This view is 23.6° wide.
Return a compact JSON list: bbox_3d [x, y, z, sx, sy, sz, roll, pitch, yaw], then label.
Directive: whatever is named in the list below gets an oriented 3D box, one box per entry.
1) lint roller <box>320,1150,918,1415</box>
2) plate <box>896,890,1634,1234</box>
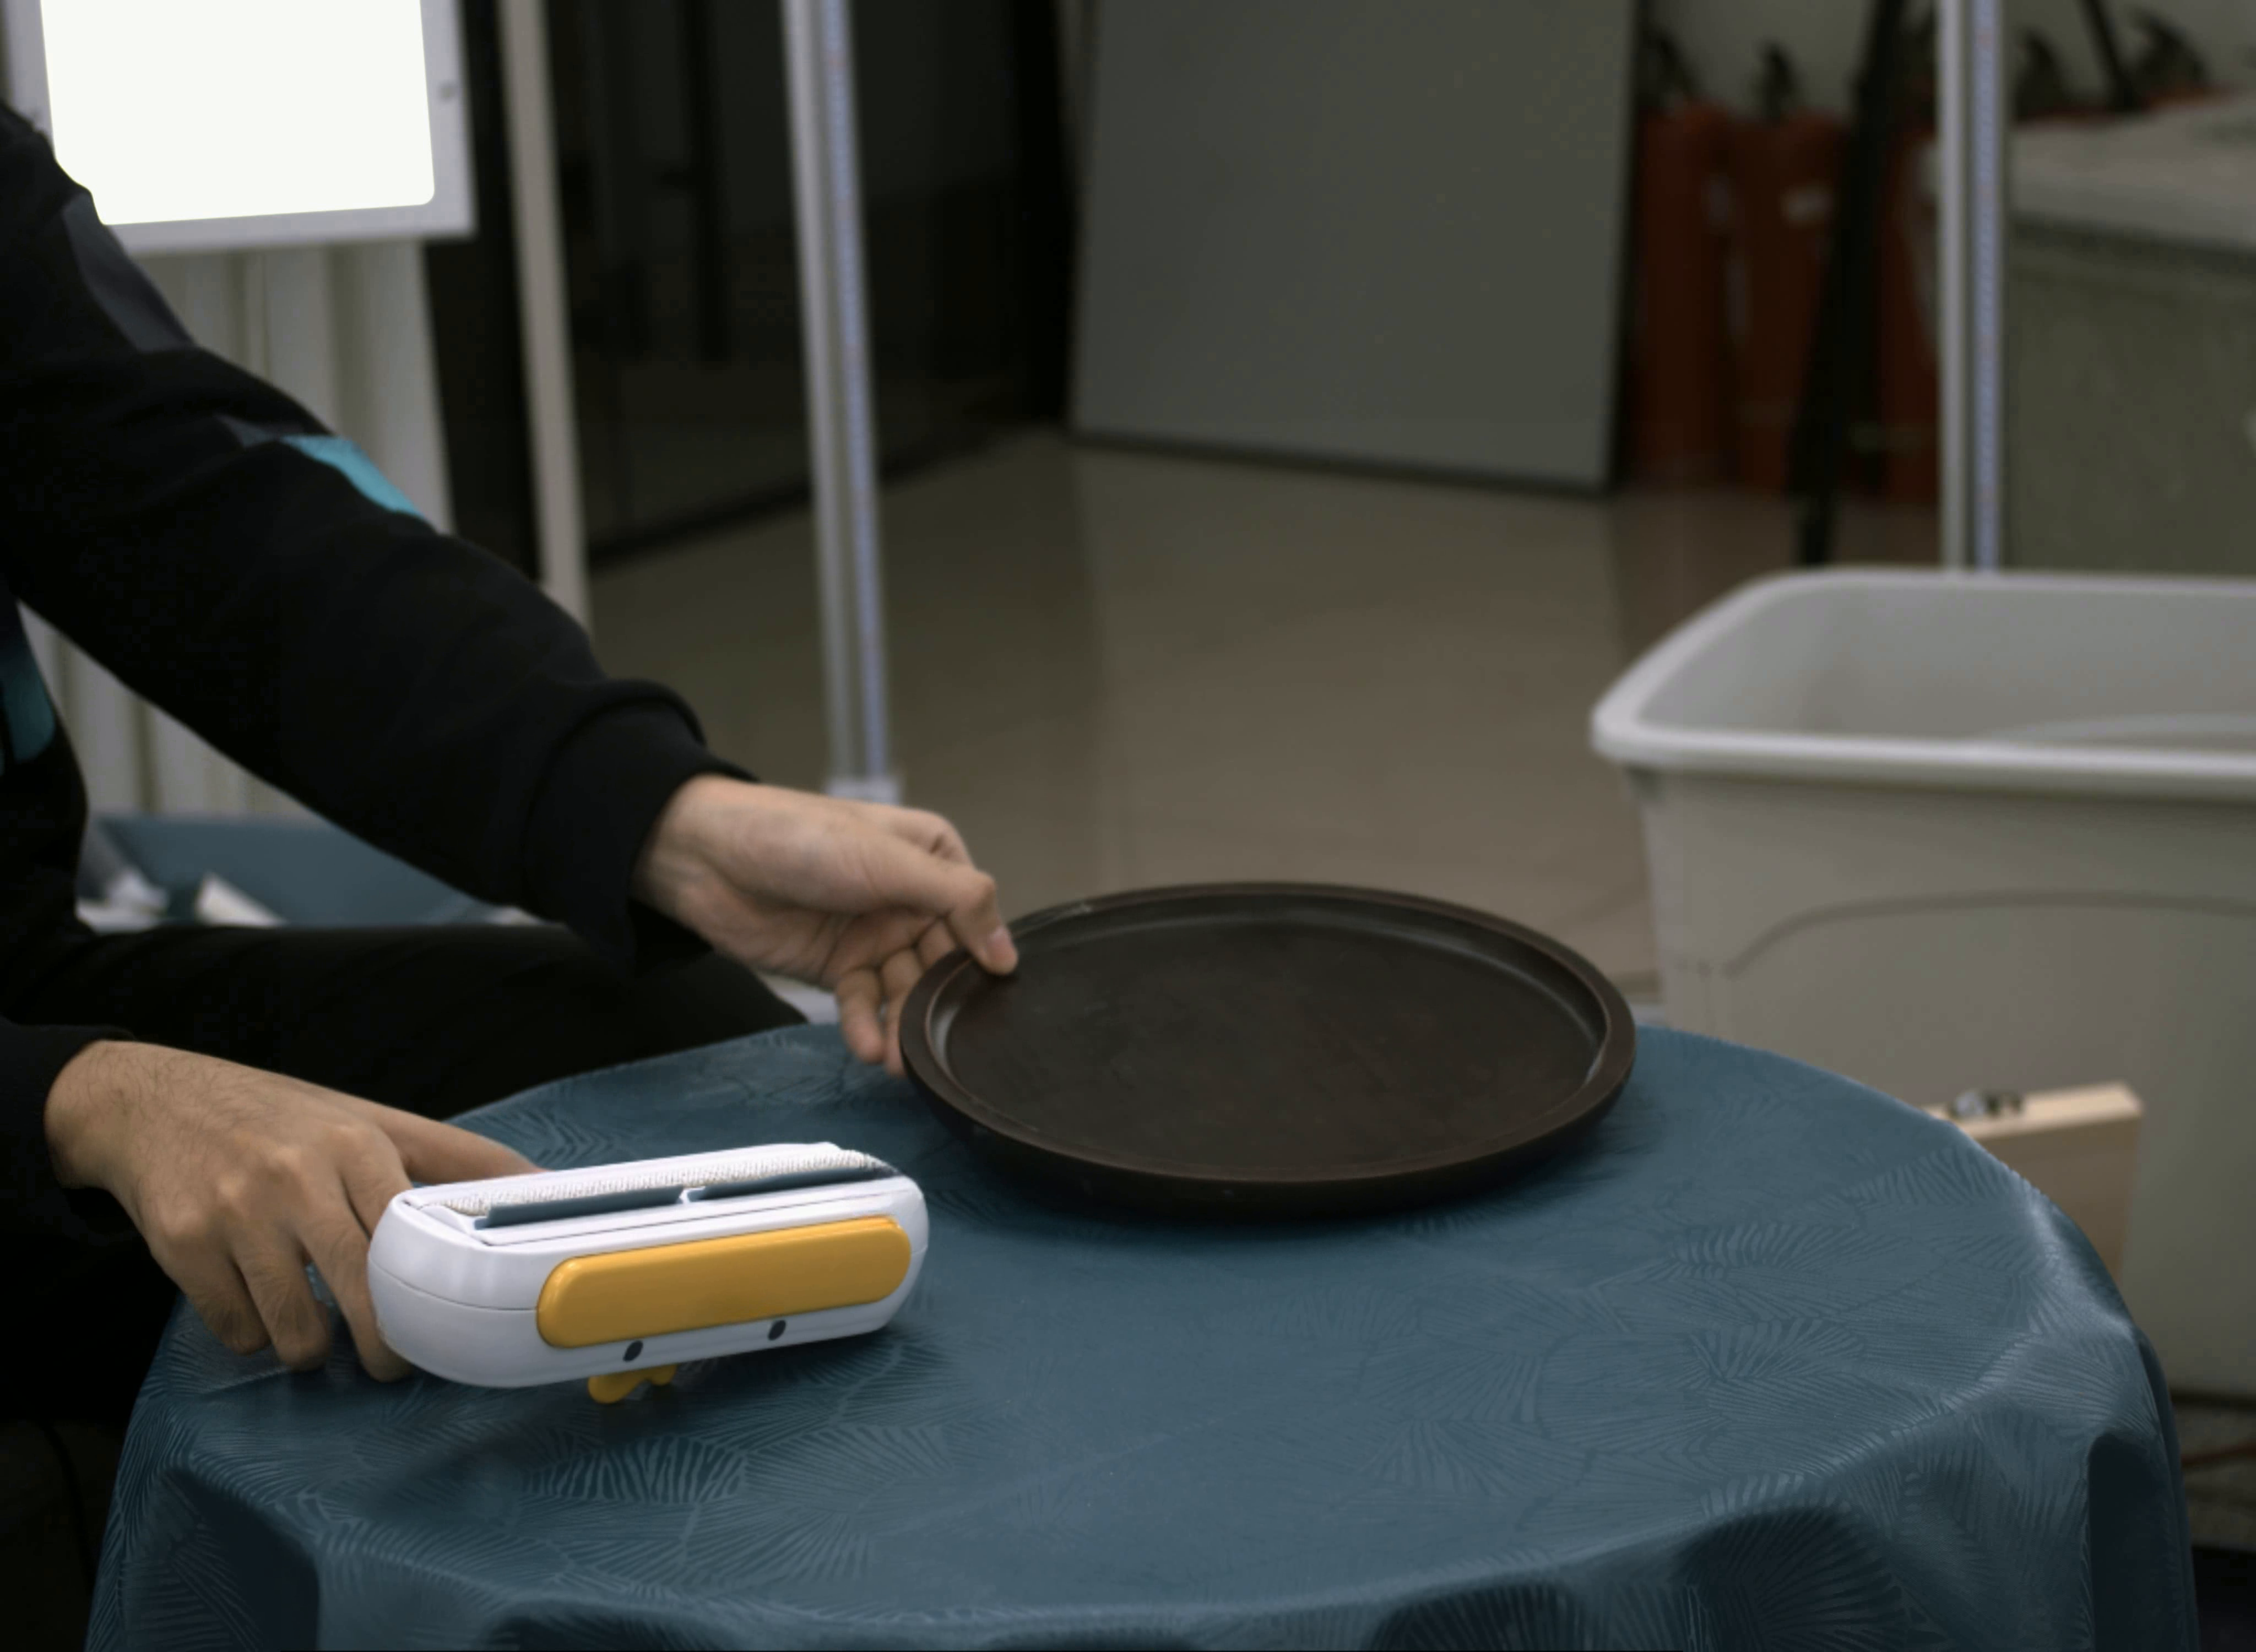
[{"bbox_3d":[-0.184,0.131,1.646,0.188,0.075,0.194,-9,12,-40],"label":"lint roller"},{"bbox_3d":[0.047,0.078,1.827,0.251,0.029,0.255,-3,20,0],"label":"plate"}]
